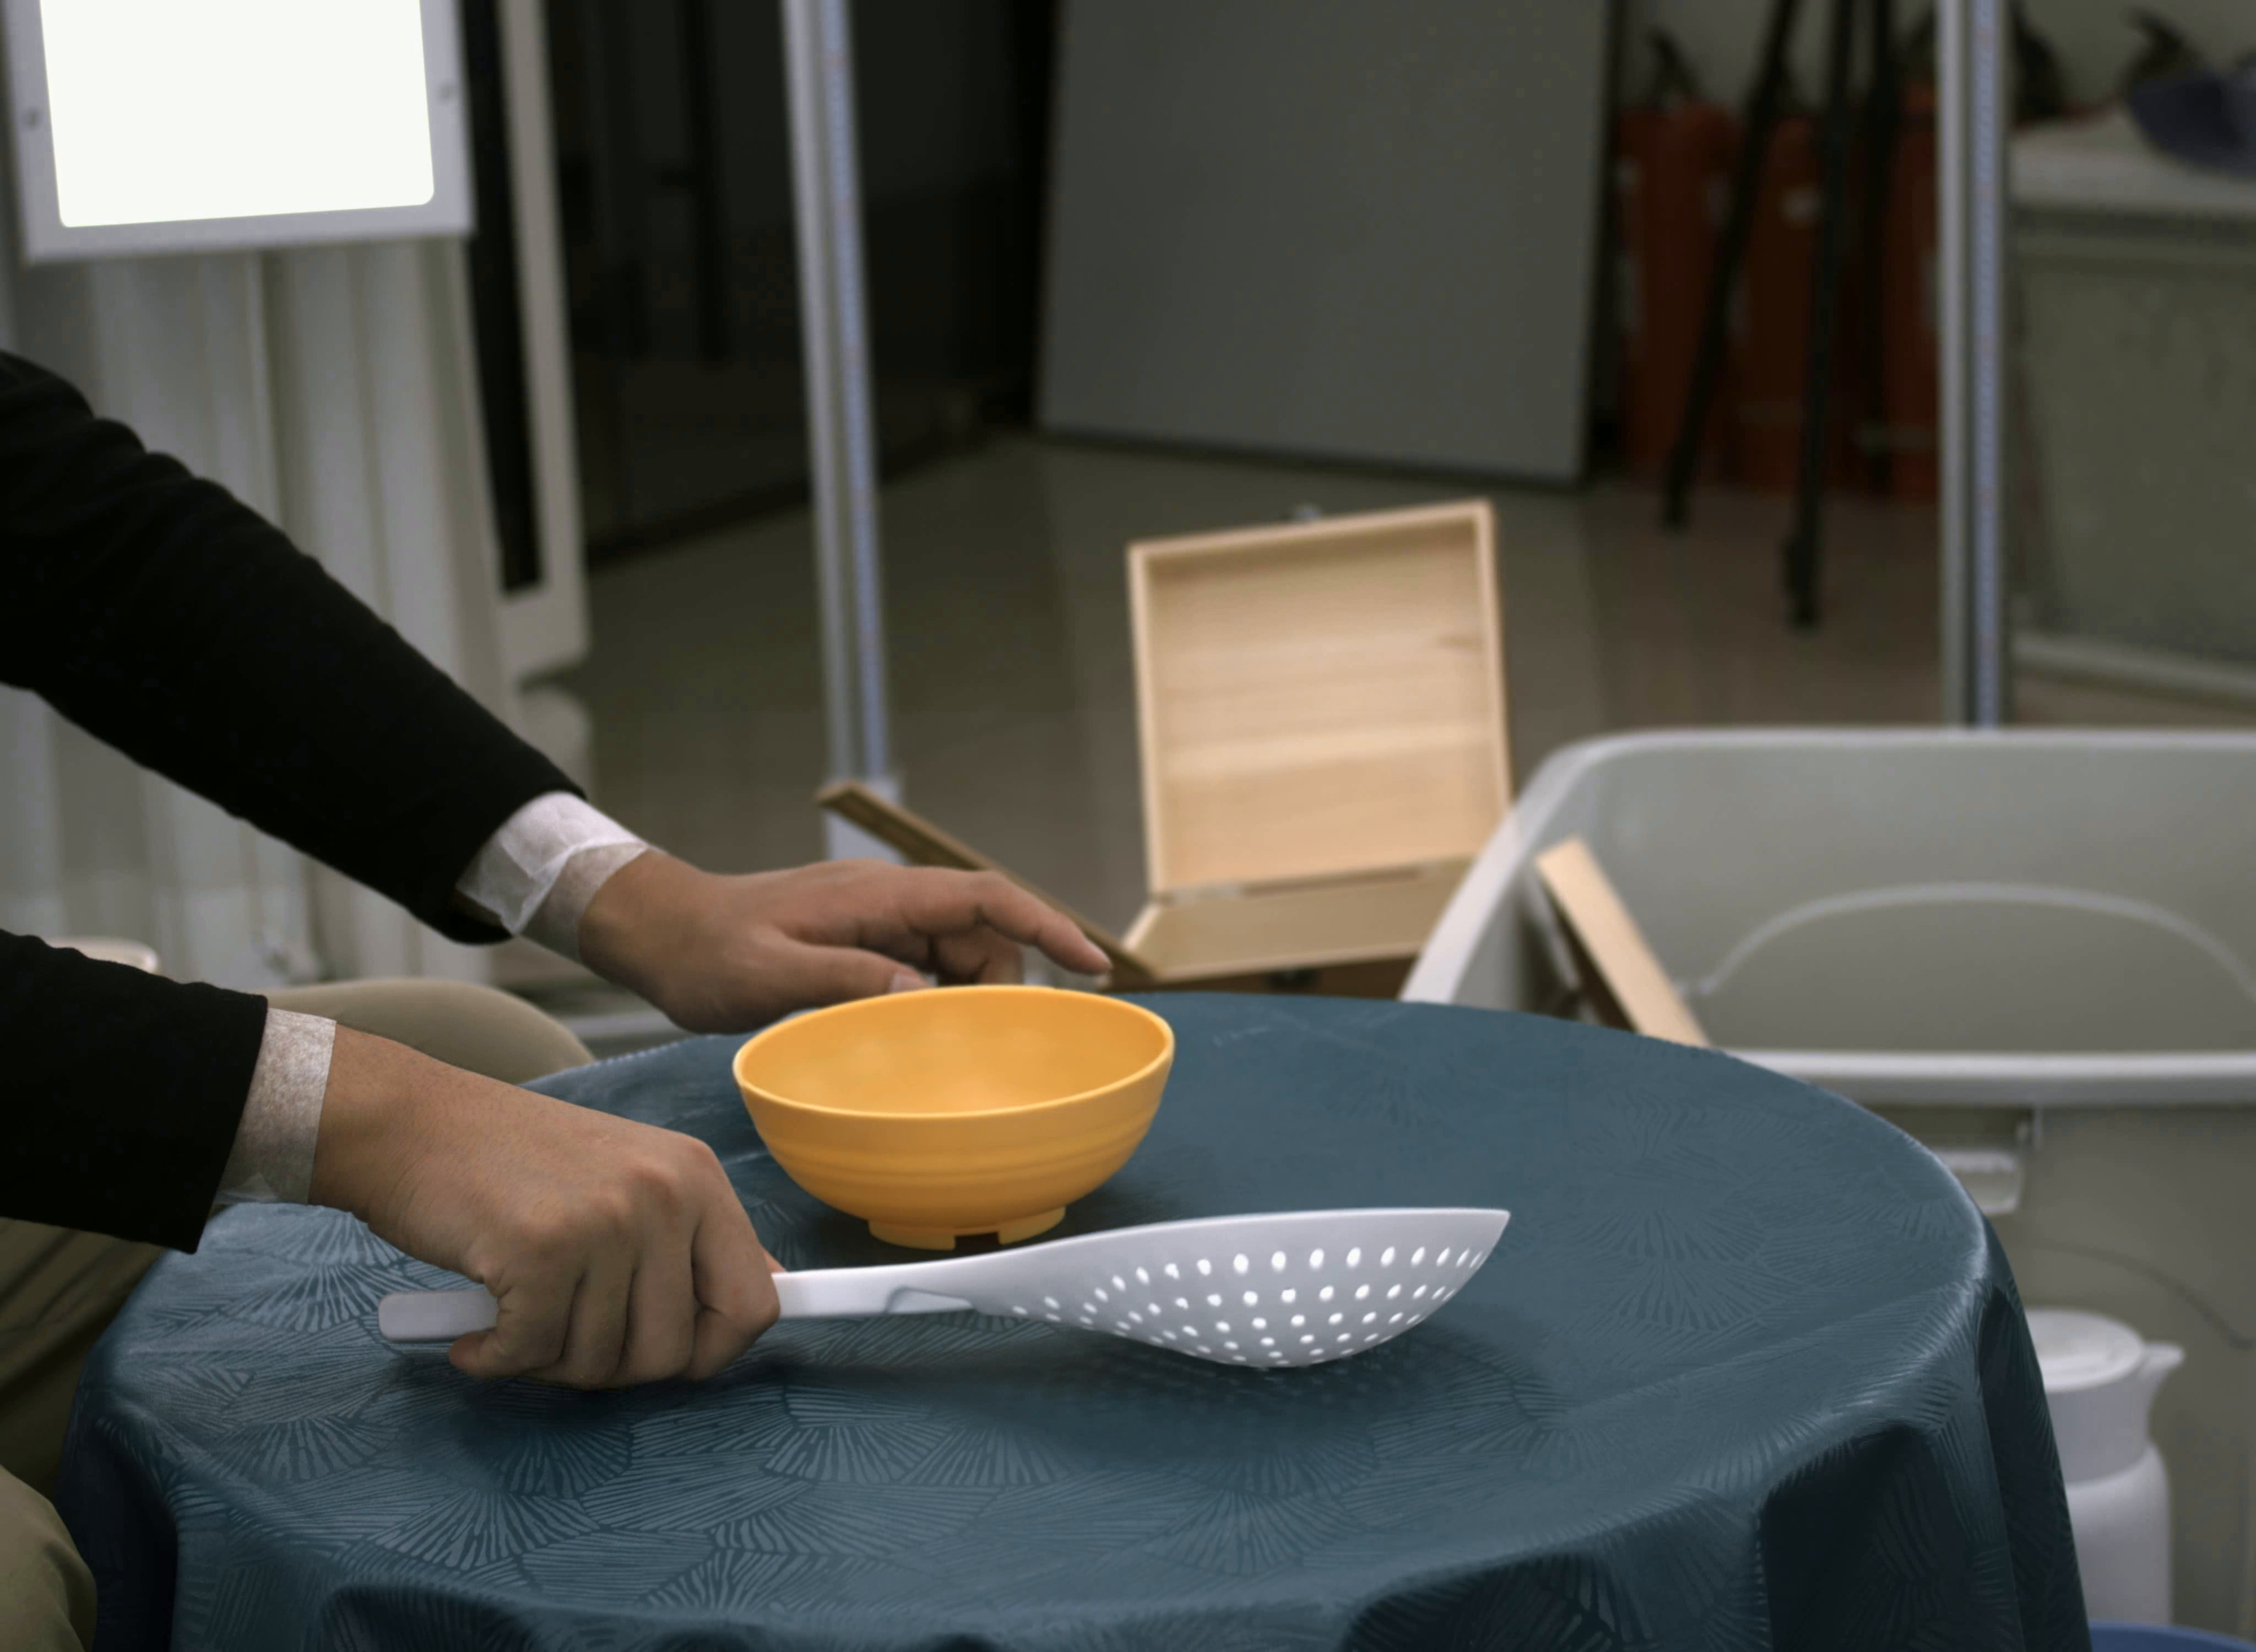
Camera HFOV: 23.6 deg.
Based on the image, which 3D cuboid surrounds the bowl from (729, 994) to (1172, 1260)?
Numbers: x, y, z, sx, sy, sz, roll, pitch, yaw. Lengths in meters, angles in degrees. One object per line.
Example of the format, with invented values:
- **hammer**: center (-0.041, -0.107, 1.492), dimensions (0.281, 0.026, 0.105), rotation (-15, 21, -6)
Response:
- **bowl**: center (-0.056, 0.102, 1.747), dimensions (0.143, 0.061, 0.145), rotation (-2, 13, 0)

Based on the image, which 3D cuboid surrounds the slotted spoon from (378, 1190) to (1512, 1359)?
- **slotted spoon**: center (-0.057, 0.135, 1.607), dimensions (0.348, 0.046, 0.135), rotation (-1, -10, 15)
